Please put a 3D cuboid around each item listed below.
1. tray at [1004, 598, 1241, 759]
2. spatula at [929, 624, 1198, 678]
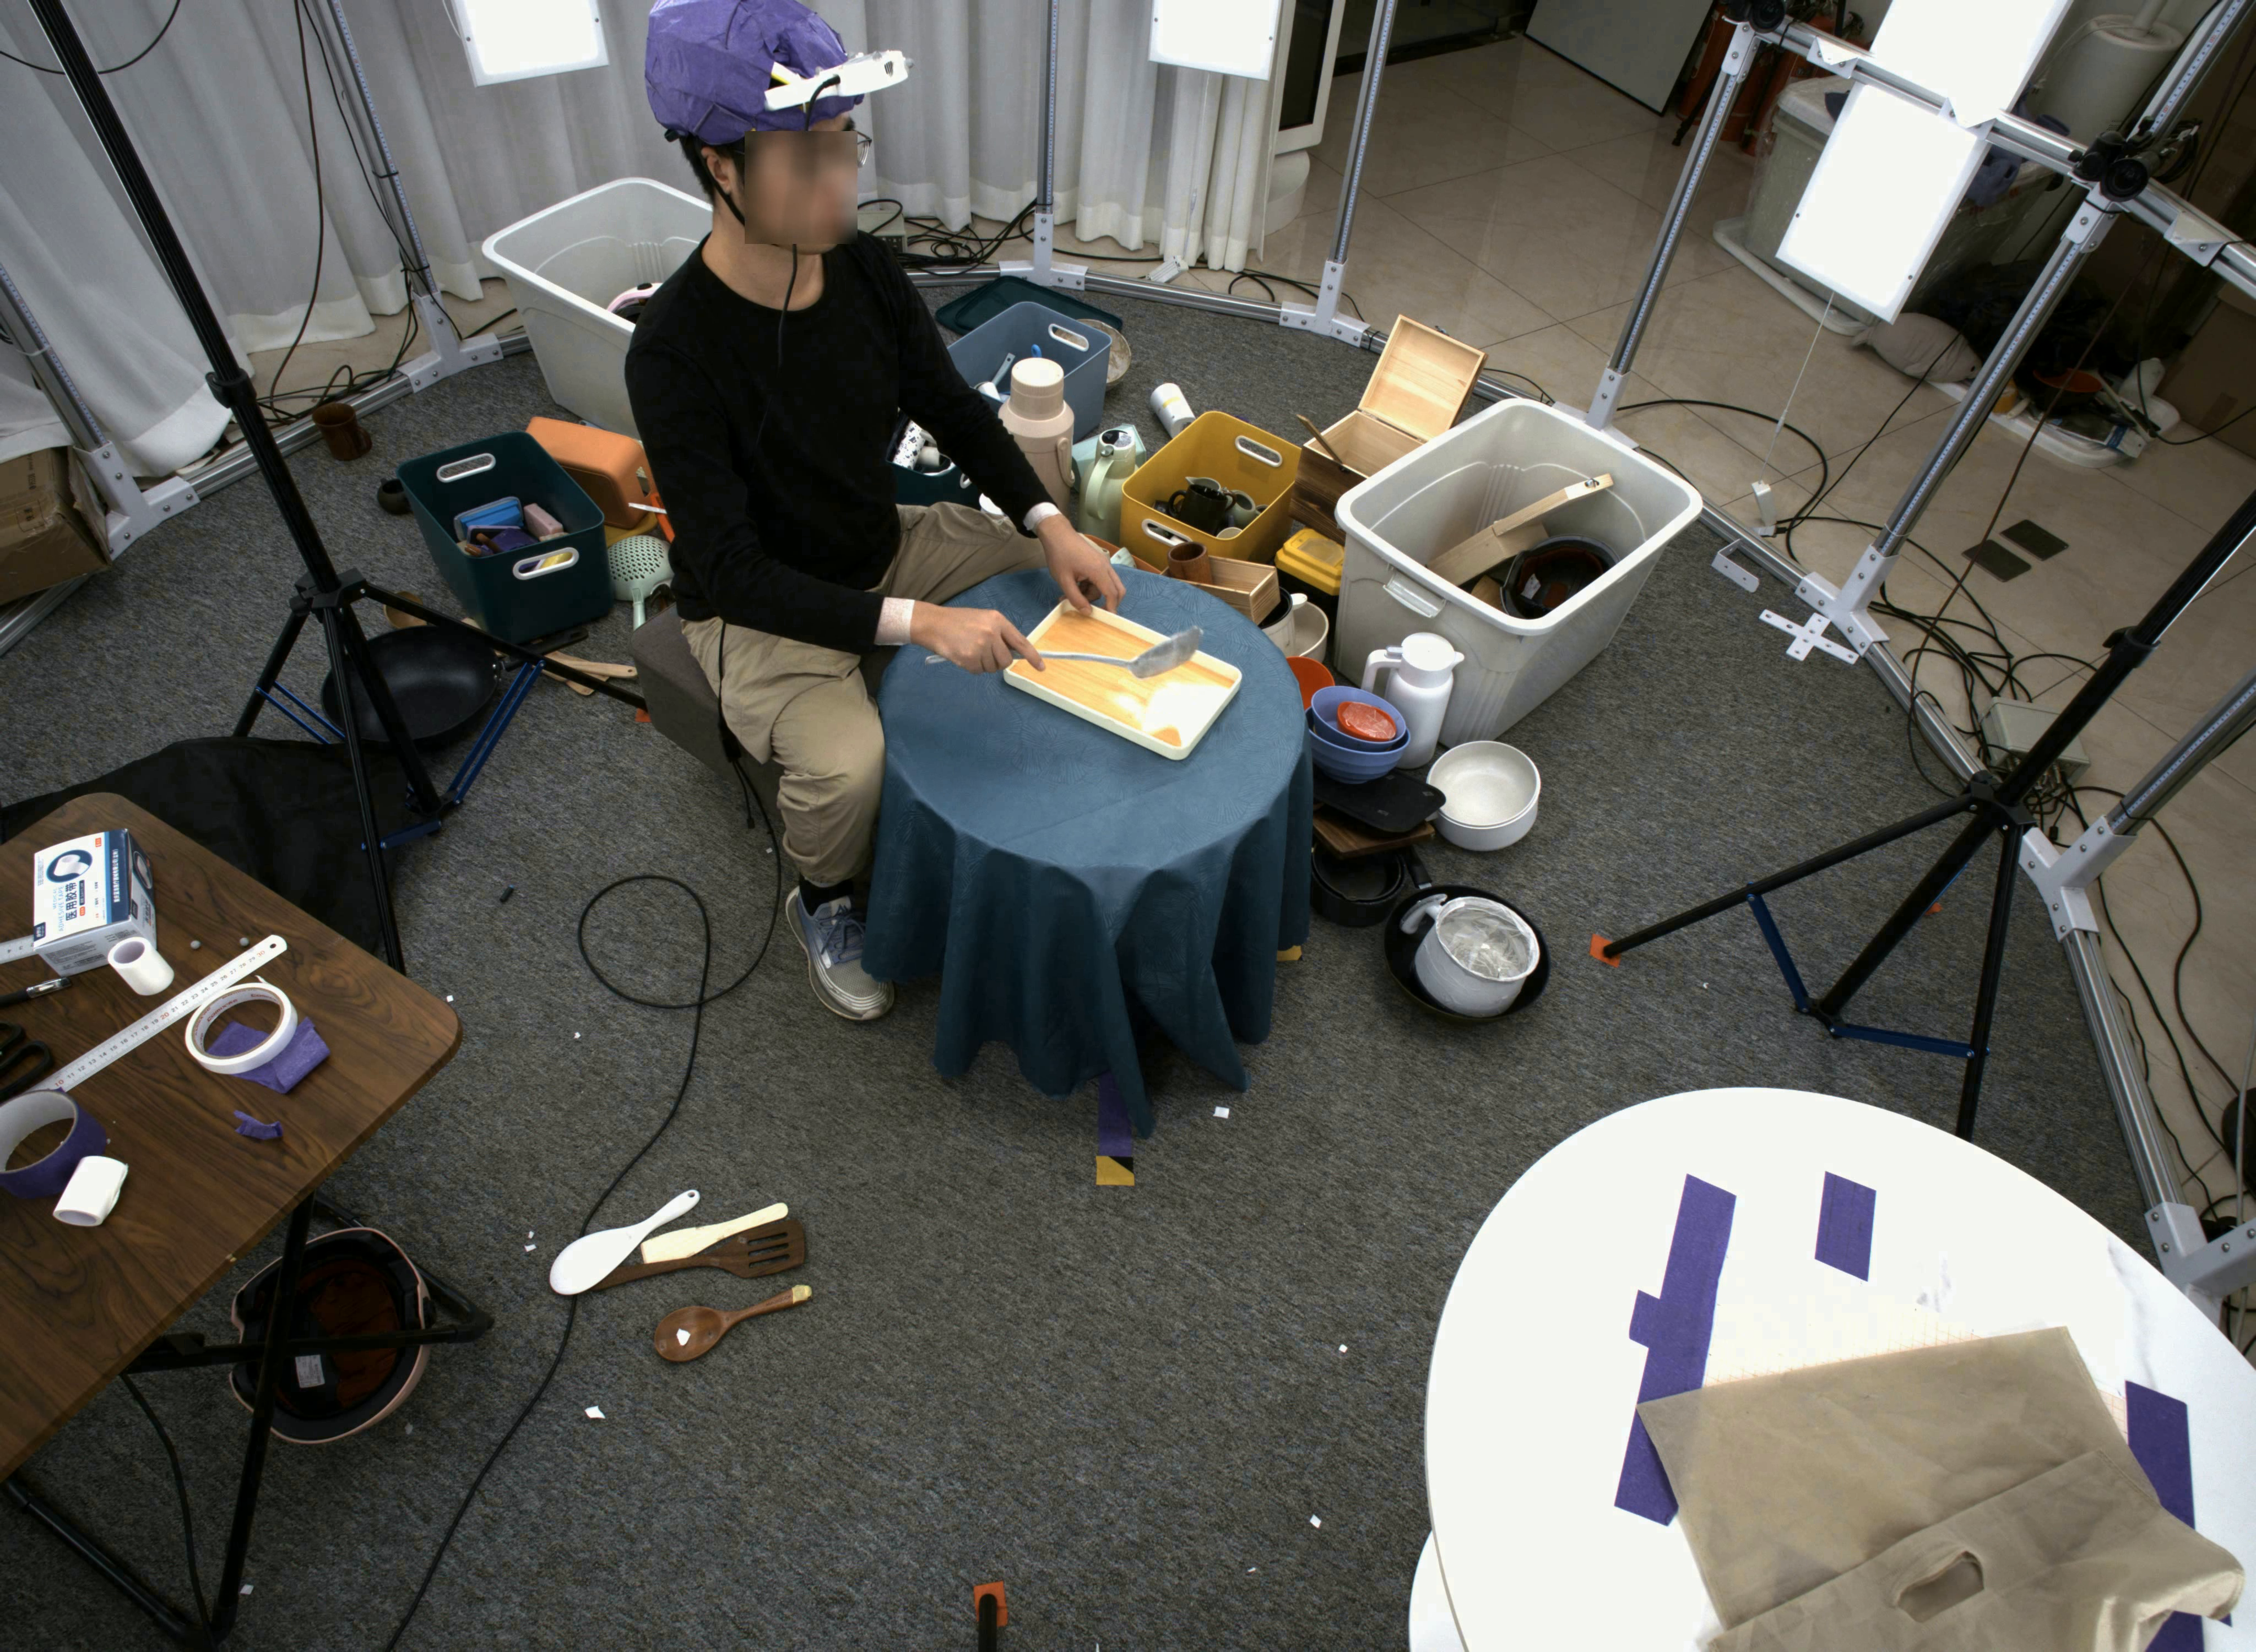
[{"bbox_3d":[-0.008,-0.216,1.839,0.303,0.027,0.194,26,52,18],"label":"tray"},{"bbox_3d":[-0.081,-0.230,1.710,0.364,0.097,0.046,-1,62,-14],"label":"spatula"}]
